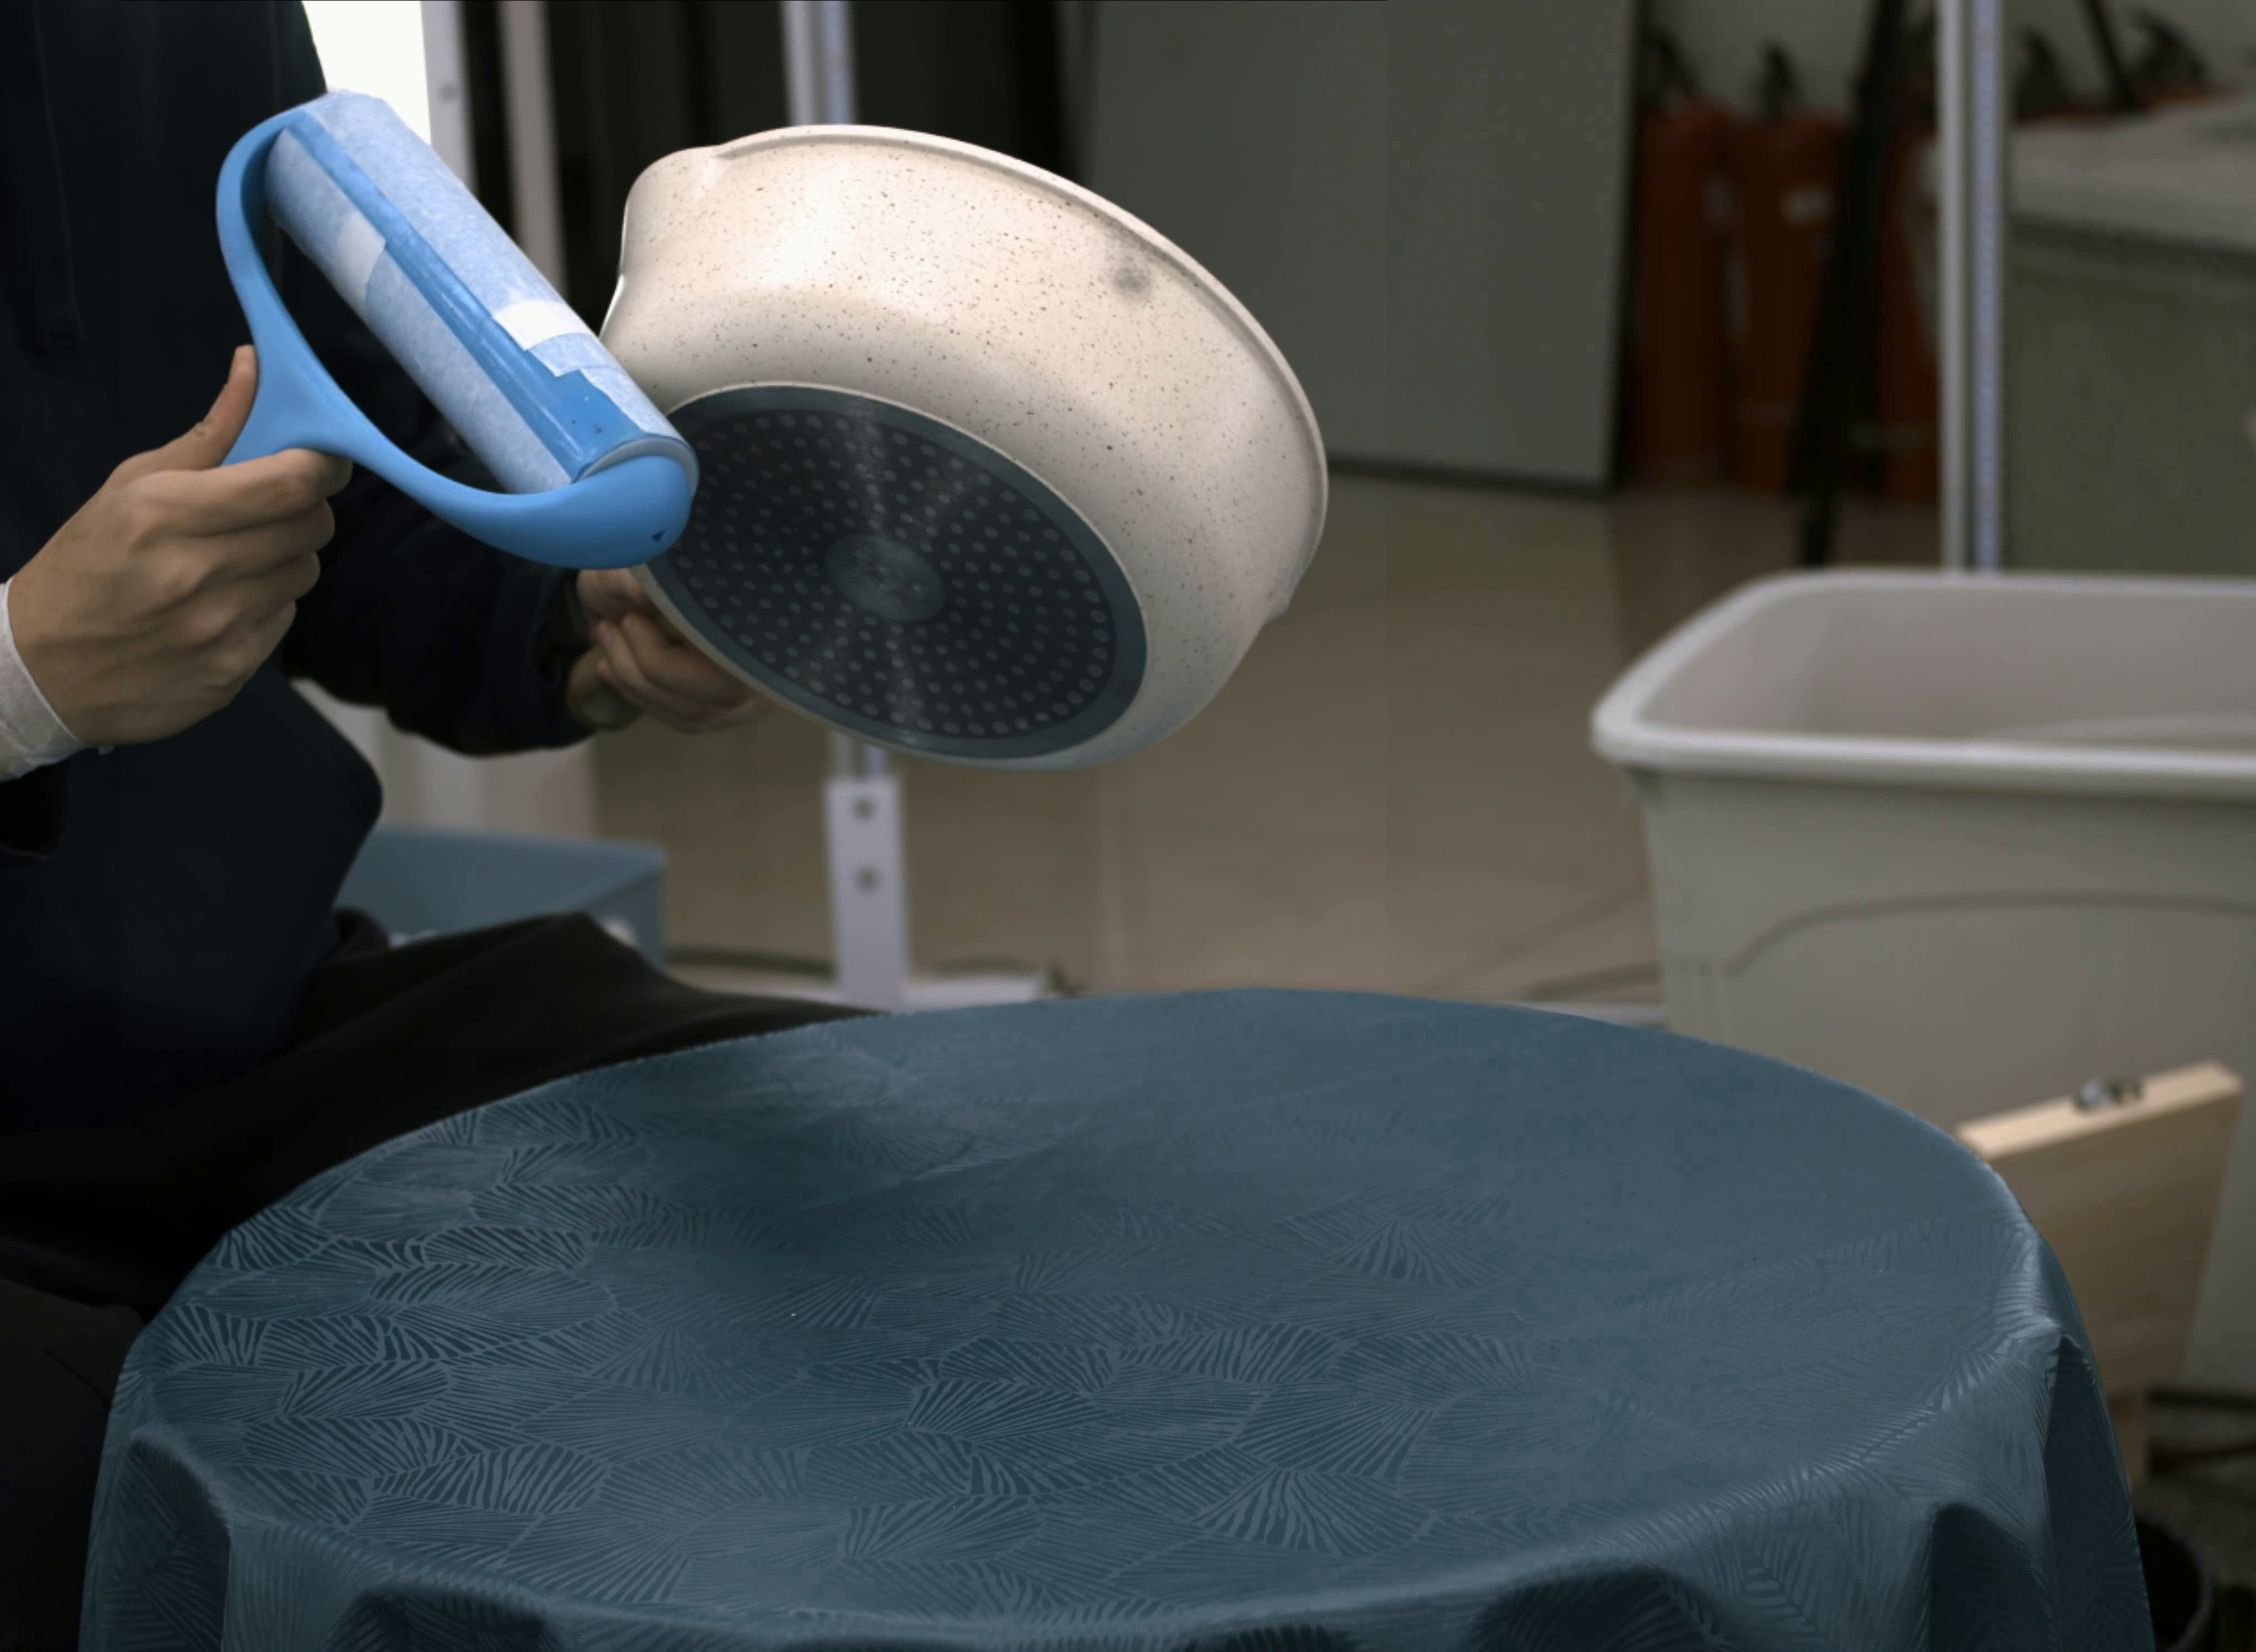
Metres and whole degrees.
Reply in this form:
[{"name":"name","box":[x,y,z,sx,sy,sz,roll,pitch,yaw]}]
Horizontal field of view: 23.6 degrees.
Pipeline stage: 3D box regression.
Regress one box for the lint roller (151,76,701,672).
[{"name":"lint roller","box":[-0.251,-0.123,1.731,0.231,0.180,0.067,46,-2,32]}]

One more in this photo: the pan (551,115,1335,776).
[{"name":"pan","box":[-0.107,-0.085,1.844,0.439,0.260,0.102,-35,26,52]}]
